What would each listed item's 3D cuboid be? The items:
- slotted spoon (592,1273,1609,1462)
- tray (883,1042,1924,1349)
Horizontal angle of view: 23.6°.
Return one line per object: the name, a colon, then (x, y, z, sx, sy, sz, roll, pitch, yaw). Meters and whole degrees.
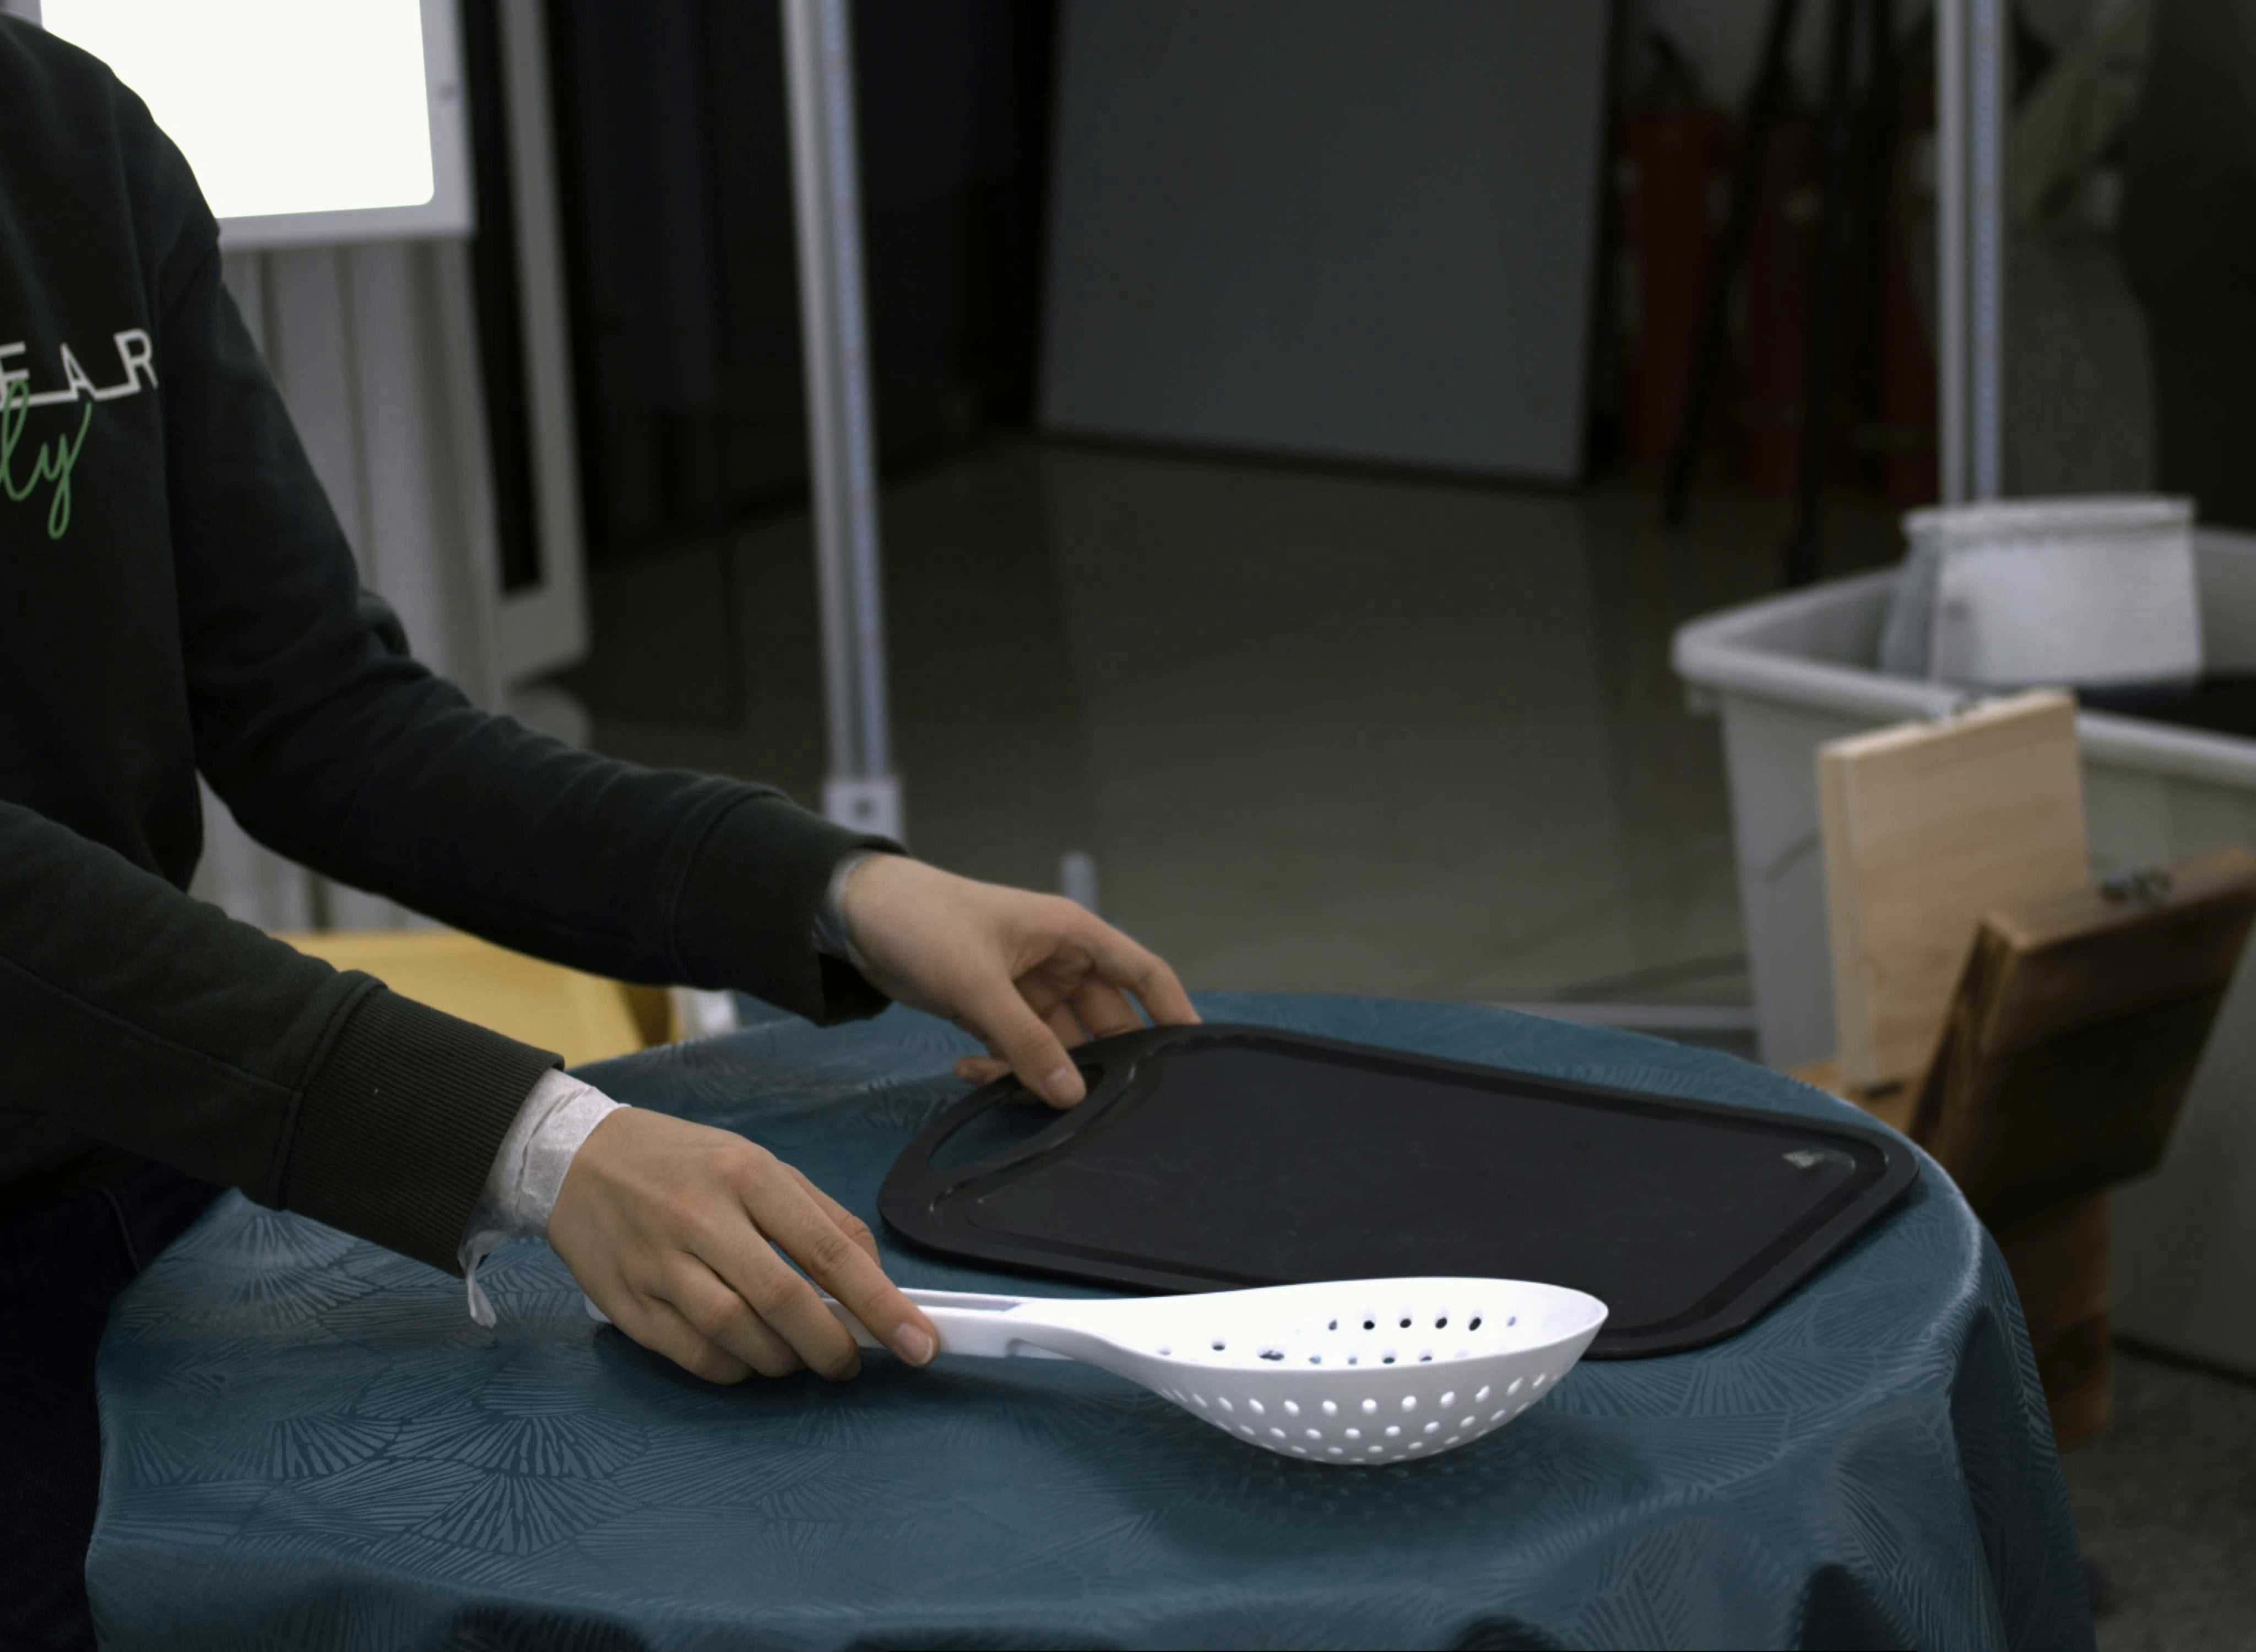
slotted spoon: (-0.019, 0.147, 1.577, 0.352, 0.046, 0.133, 5, 7, 36)
tray: (0.080, 0.114, 1.735, 0.327, 0.010, 0.208, 6, 20, 32)
